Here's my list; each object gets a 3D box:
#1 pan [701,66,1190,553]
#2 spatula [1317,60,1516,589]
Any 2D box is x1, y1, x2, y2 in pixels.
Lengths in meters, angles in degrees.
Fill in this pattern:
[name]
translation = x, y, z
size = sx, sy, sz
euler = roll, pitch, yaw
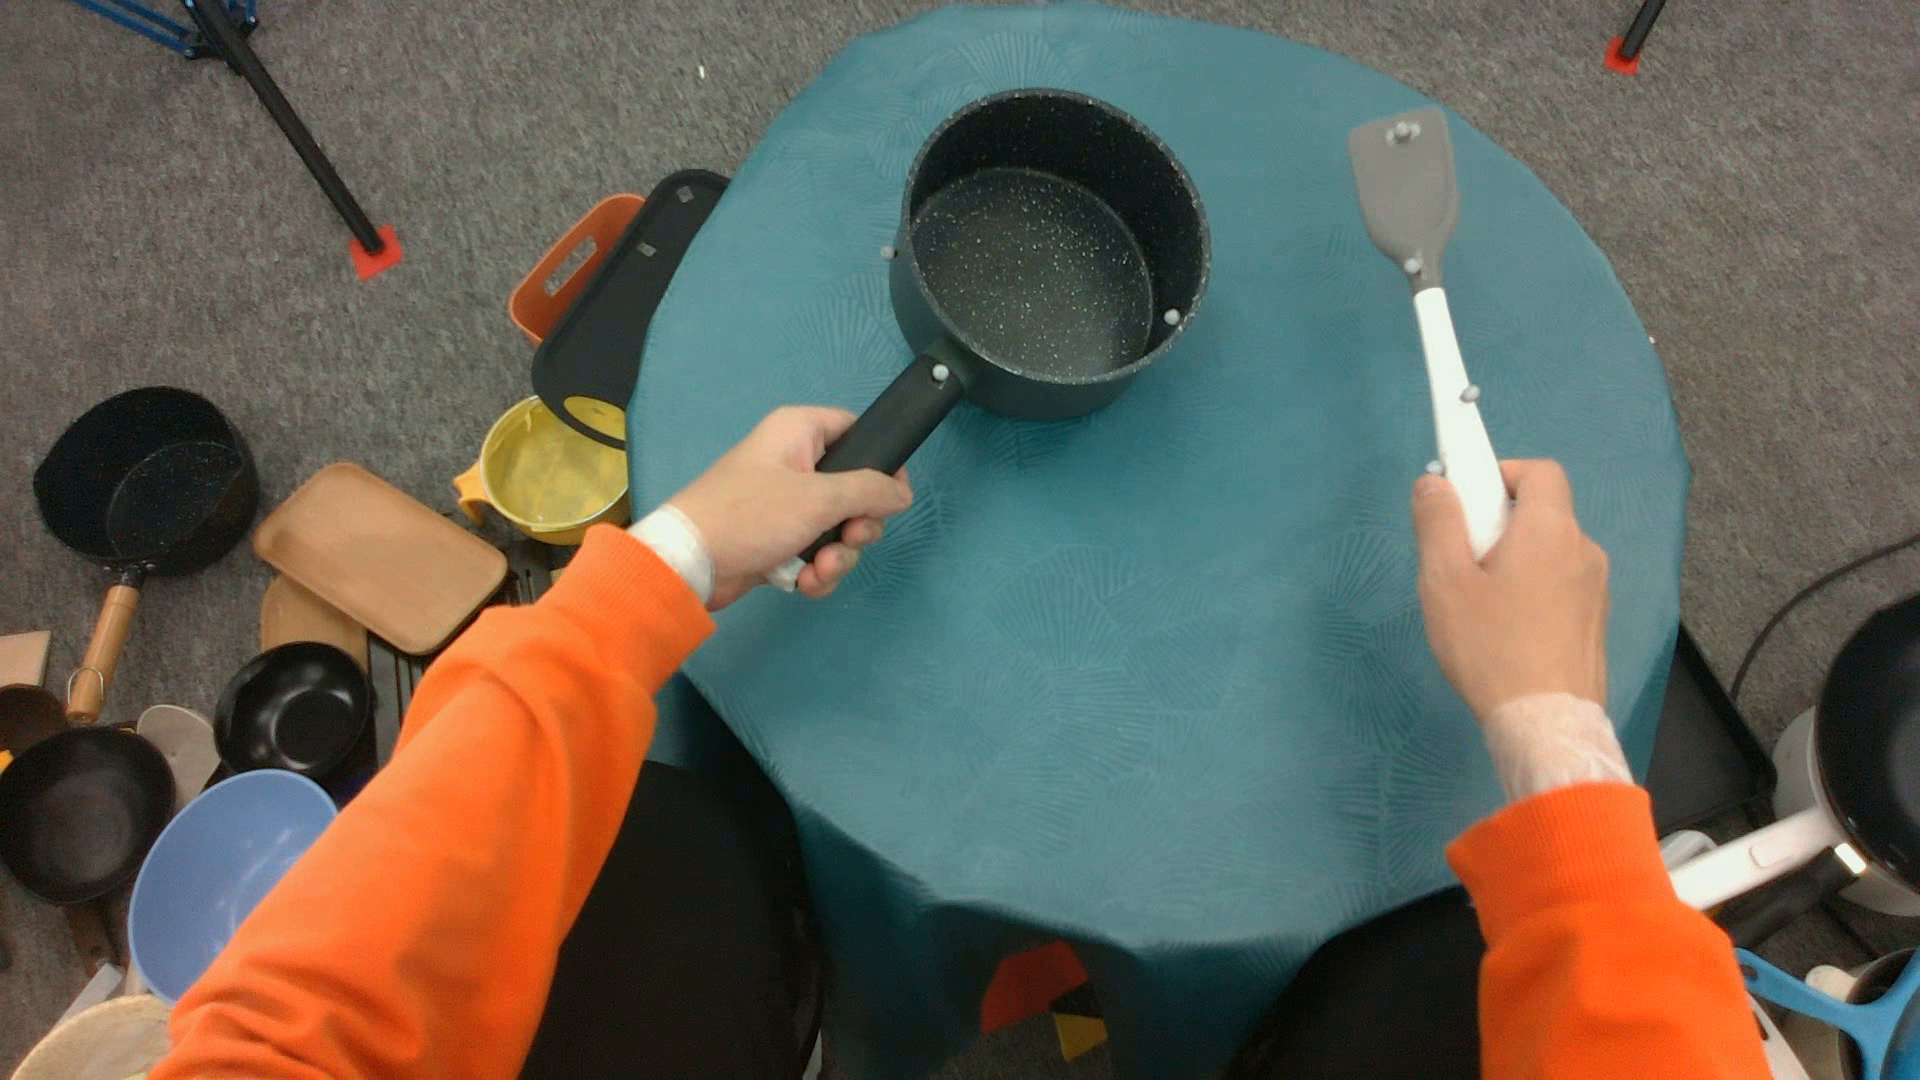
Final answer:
[pan]
translation = -0.015, -0.109, 0.730
size = 0.172, 0.086, 0.330
euler = 41, 69, 0
[spatula]
translation = 0.231, -0.115, 0.693
size = 0.058, 0.032, 0.288
euler = -16, 66, 26
